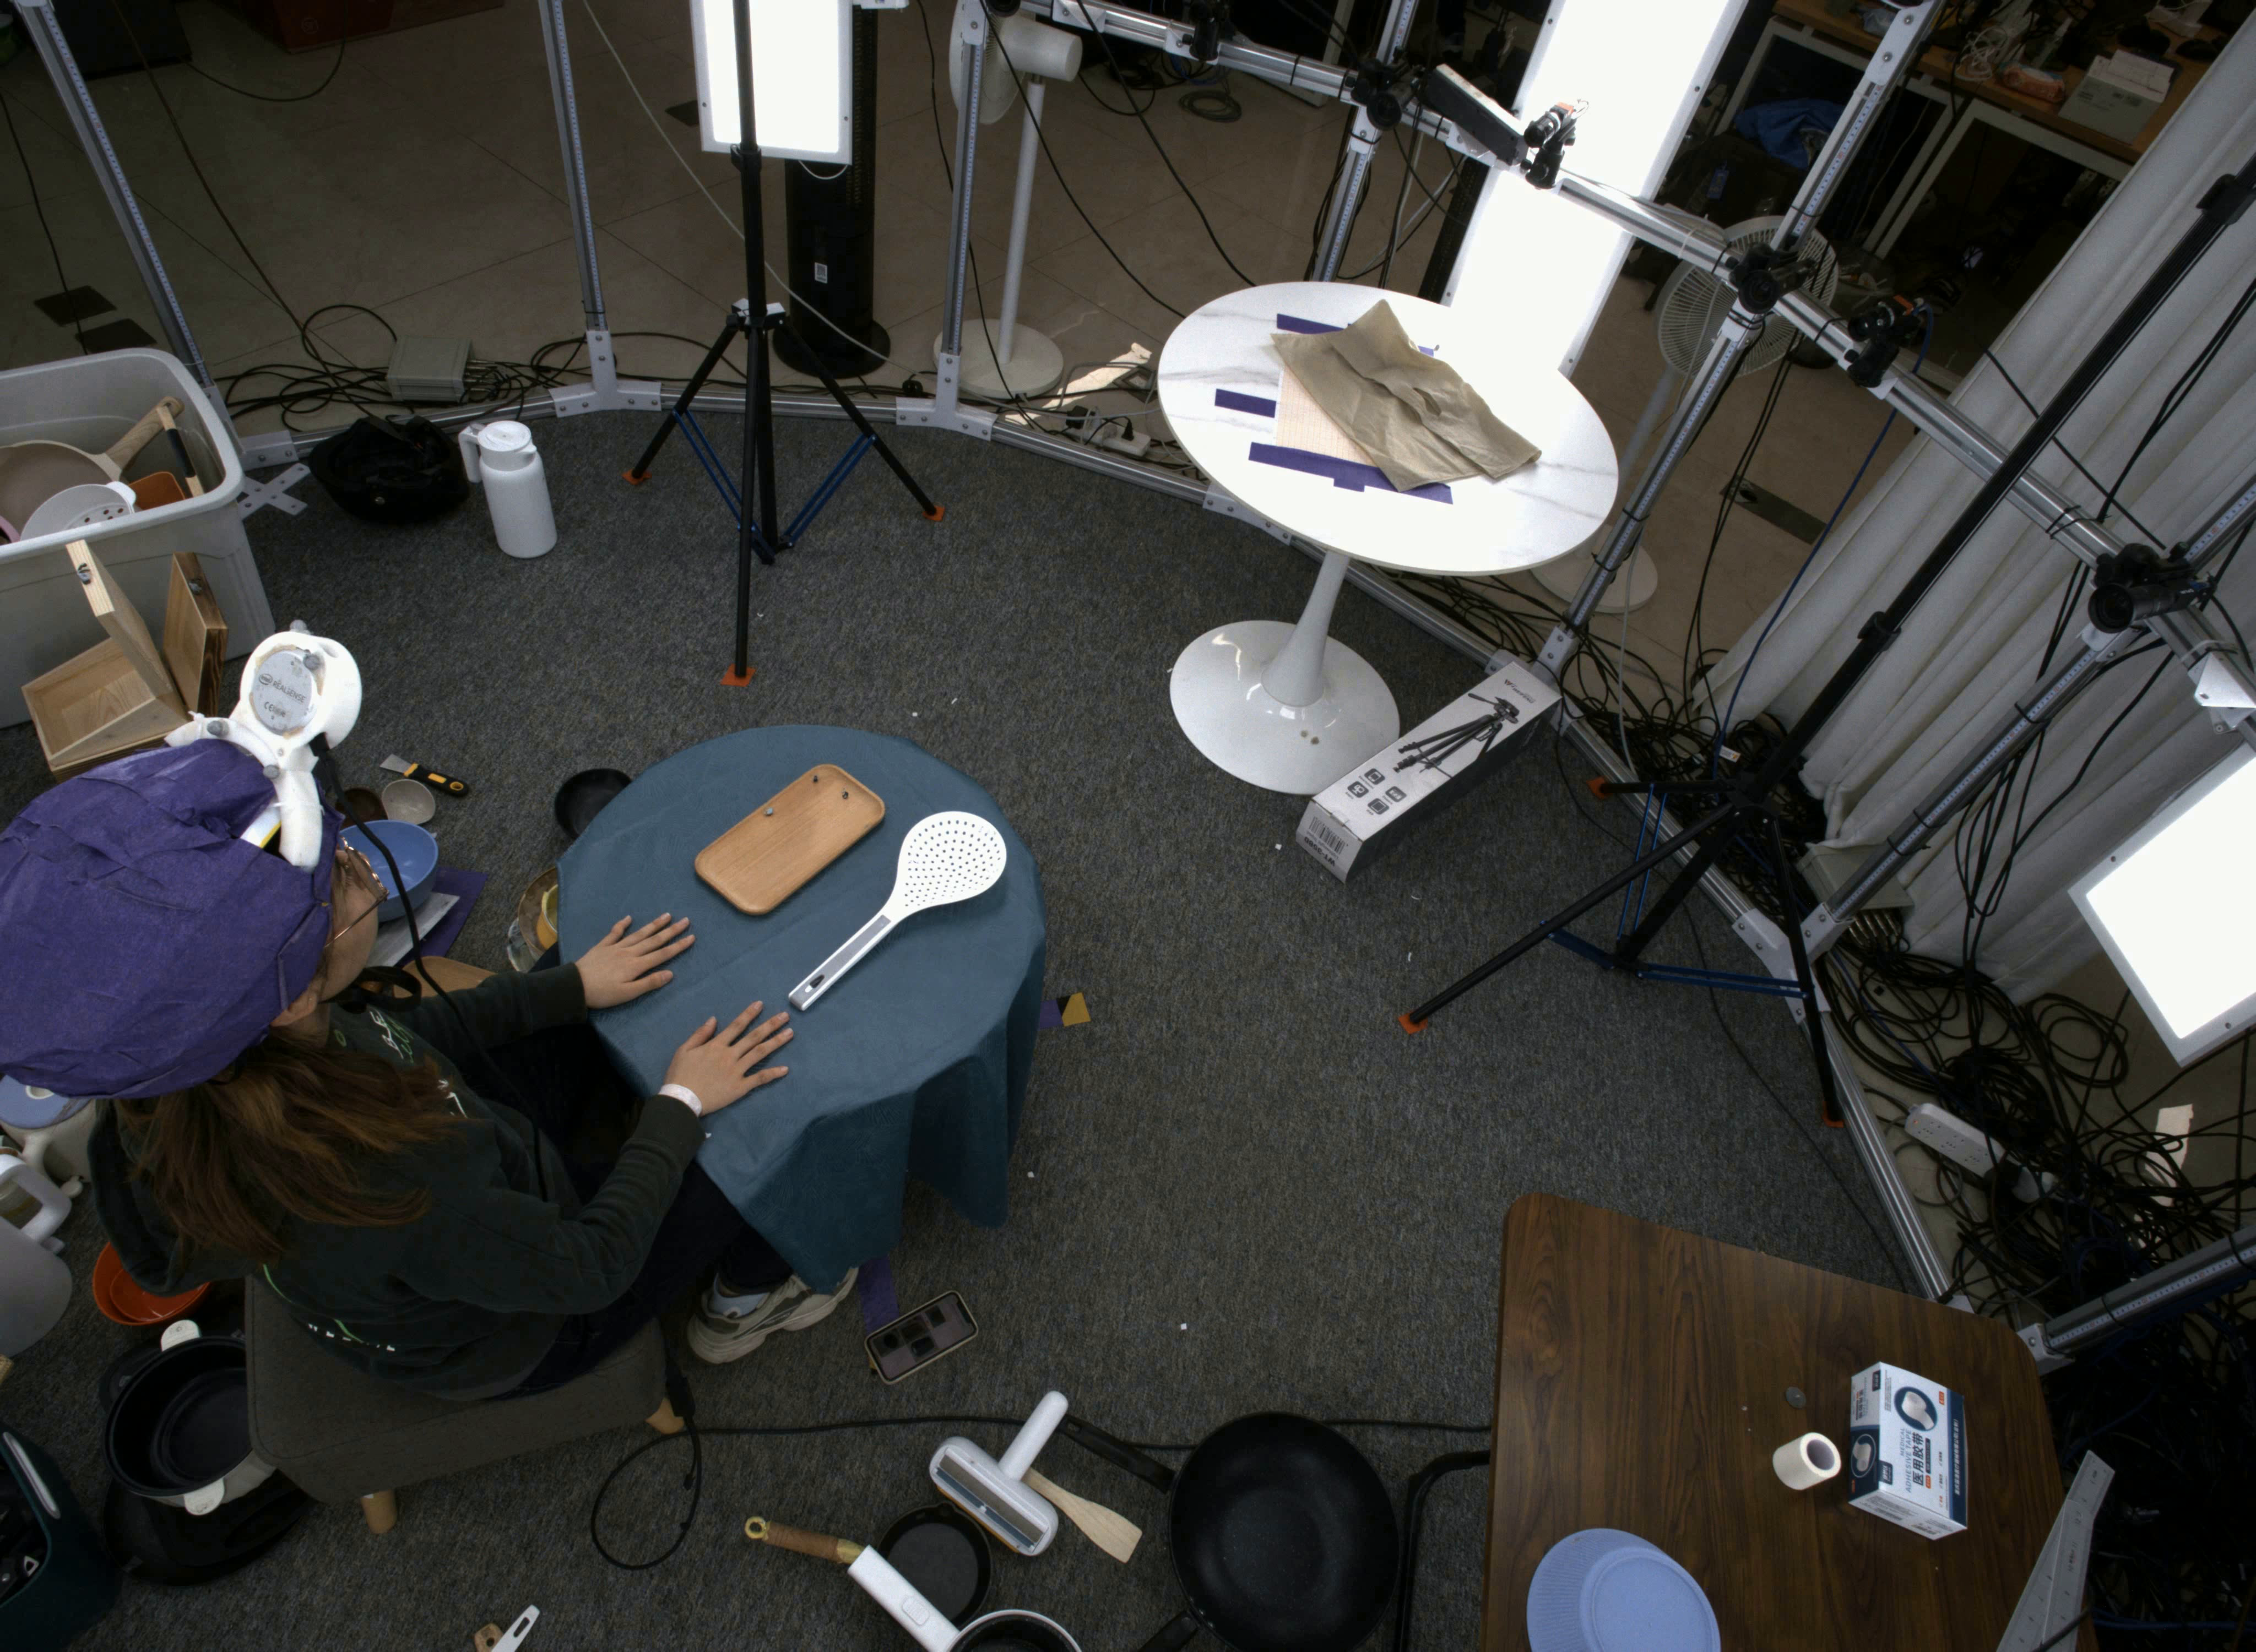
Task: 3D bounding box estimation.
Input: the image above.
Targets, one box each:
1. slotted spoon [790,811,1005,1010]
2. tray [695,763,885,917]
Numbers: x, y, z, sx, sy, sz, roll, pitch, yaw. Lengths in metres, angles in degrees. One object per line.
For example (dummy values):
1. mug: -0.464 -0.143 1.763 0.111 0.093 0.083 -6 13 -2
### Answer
1. slotted spoon: -0.294 0.106 1.654 0.133 0.047 0.350 35 54 16
2. tray: -0.441 0.015 1.703 0.128 0.023 0.250 35 54 15
